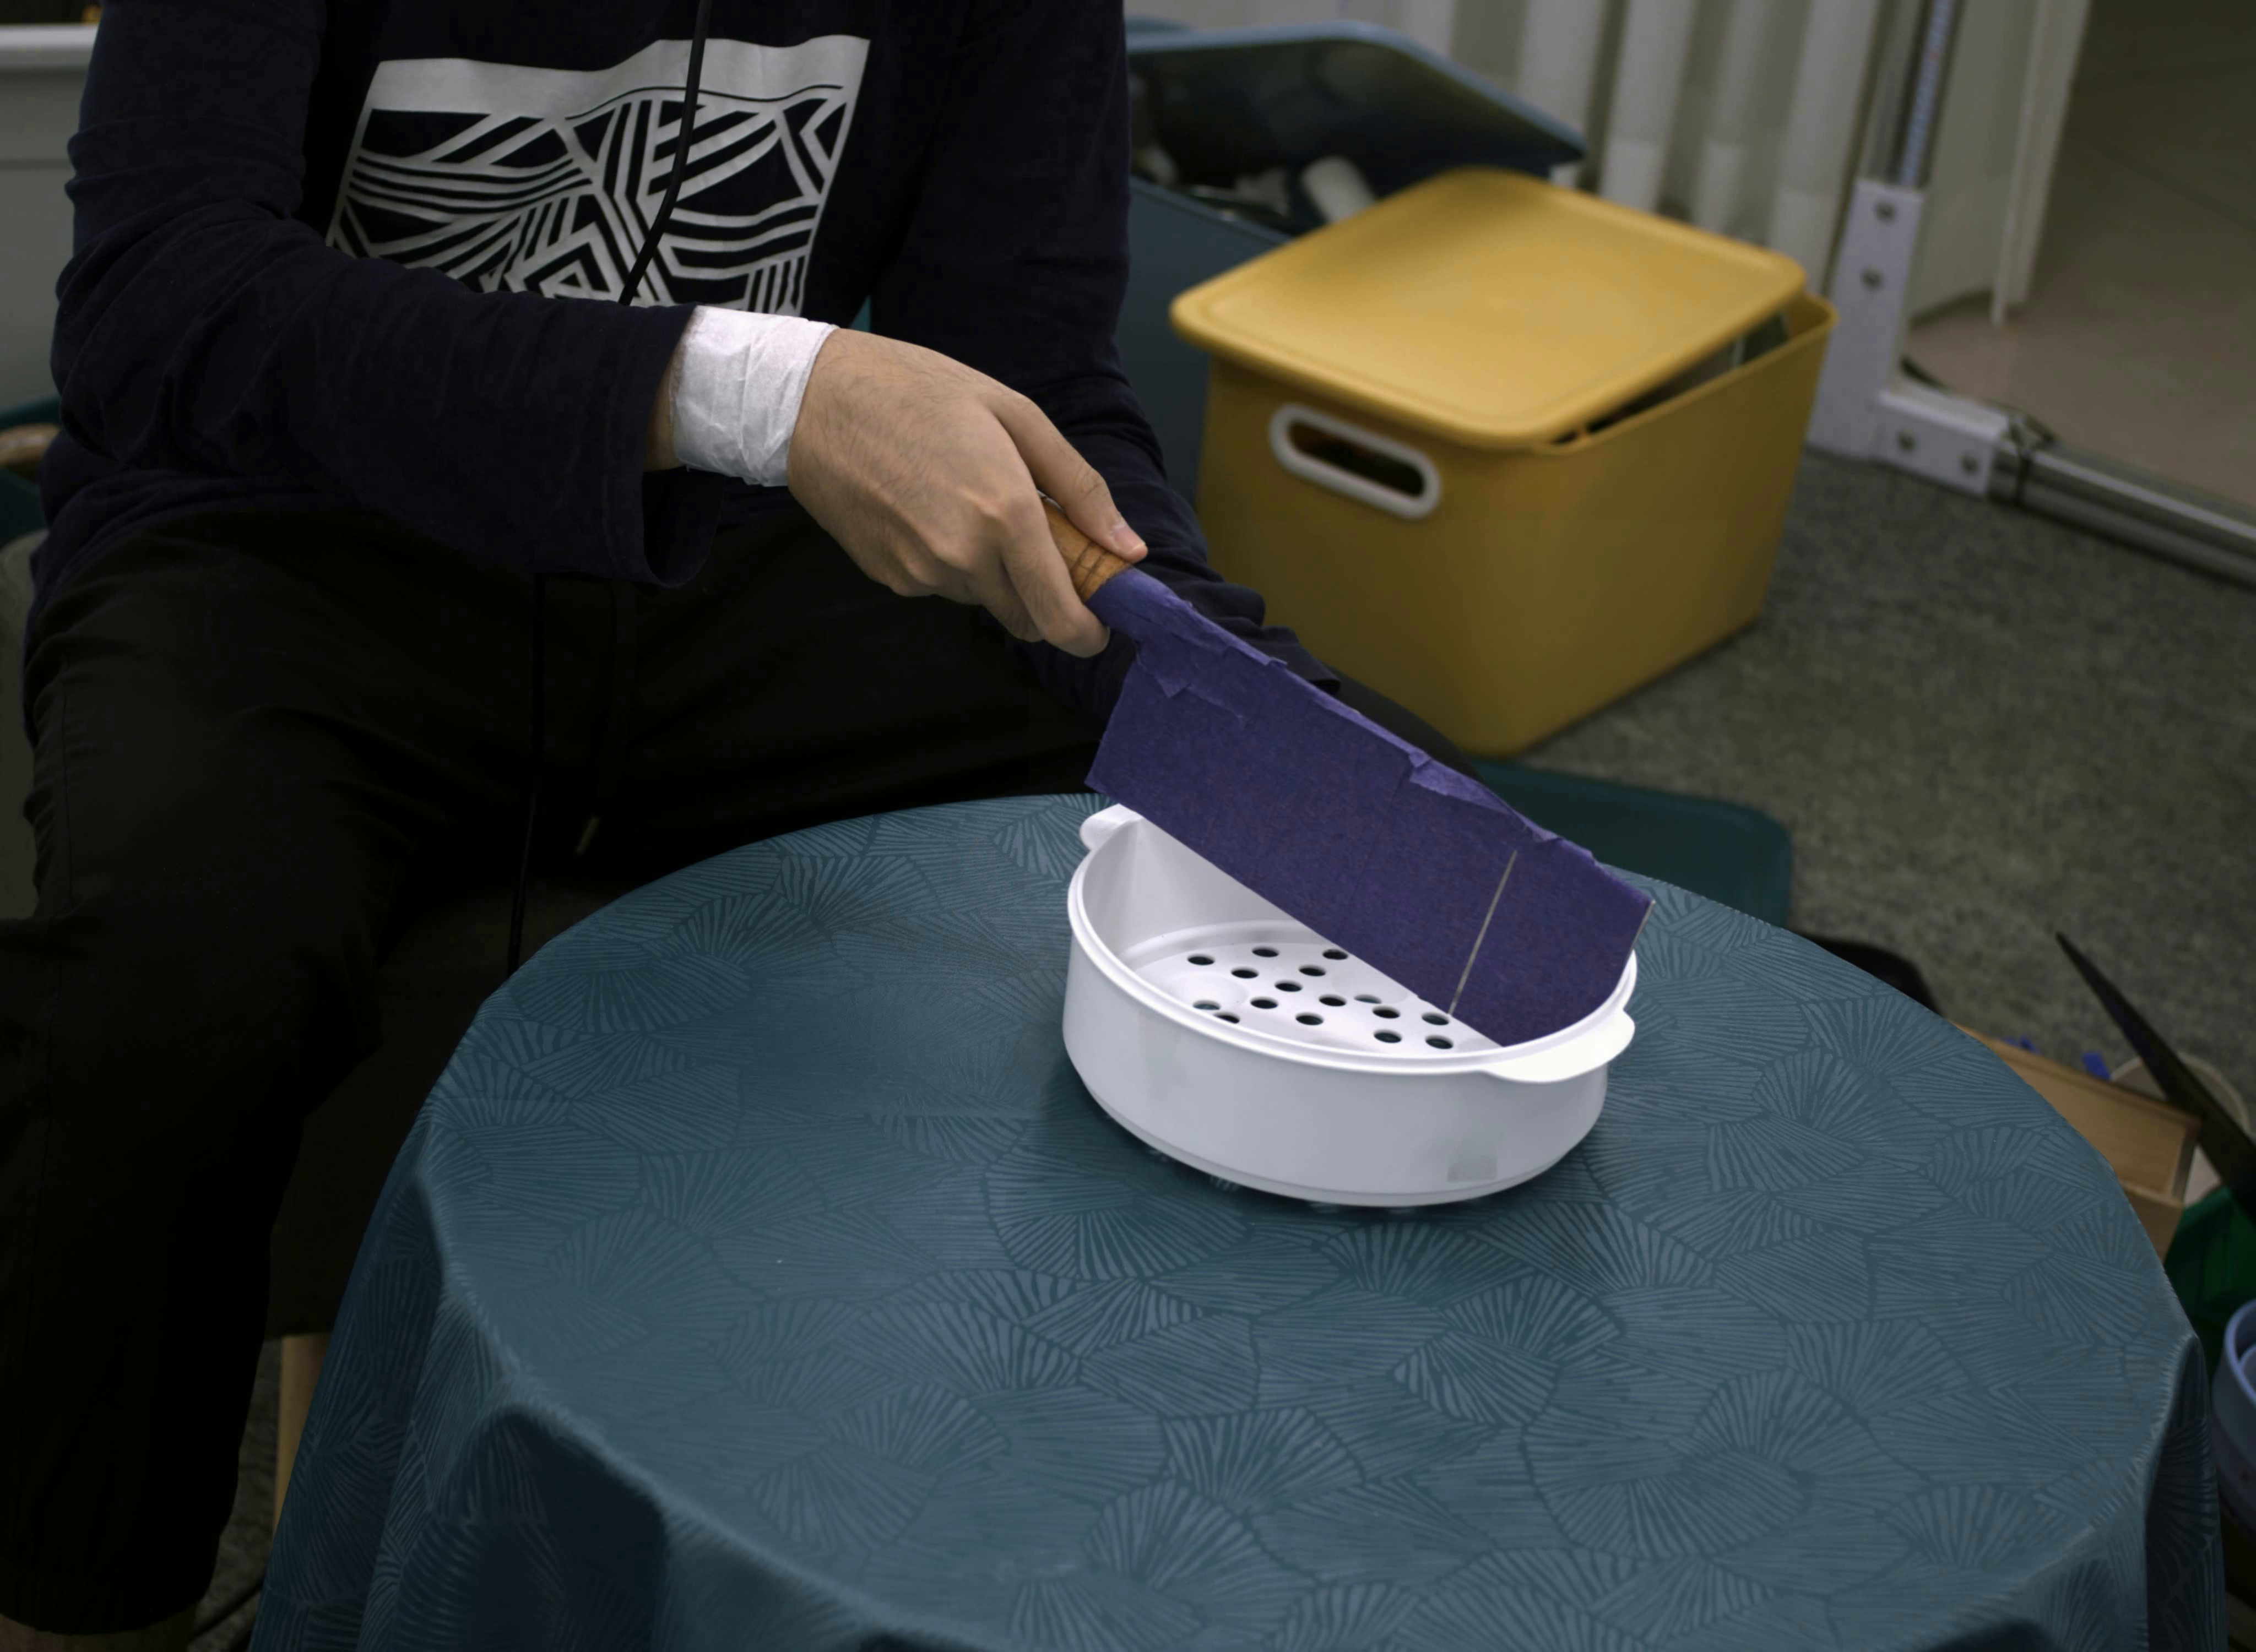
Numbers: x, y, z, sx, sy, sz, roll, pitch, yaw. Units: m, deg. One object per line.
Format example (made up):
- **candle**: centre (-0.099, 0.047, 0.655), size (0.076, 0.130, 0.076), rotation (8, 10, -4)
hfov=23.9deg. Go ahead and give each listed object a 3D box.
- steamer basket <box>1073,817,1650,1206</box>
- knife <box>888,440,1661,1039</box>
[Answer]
- **steamer basket**: centre (0.079, 0.064, 1.869), size (0.201, 0.069, 0.232), rotation (-18, 33, -42)
- **knife**: centre (0.039, -0.022, 1.866), size (0.316, 0.103, 0.032), rotation (33, 37, 18)
